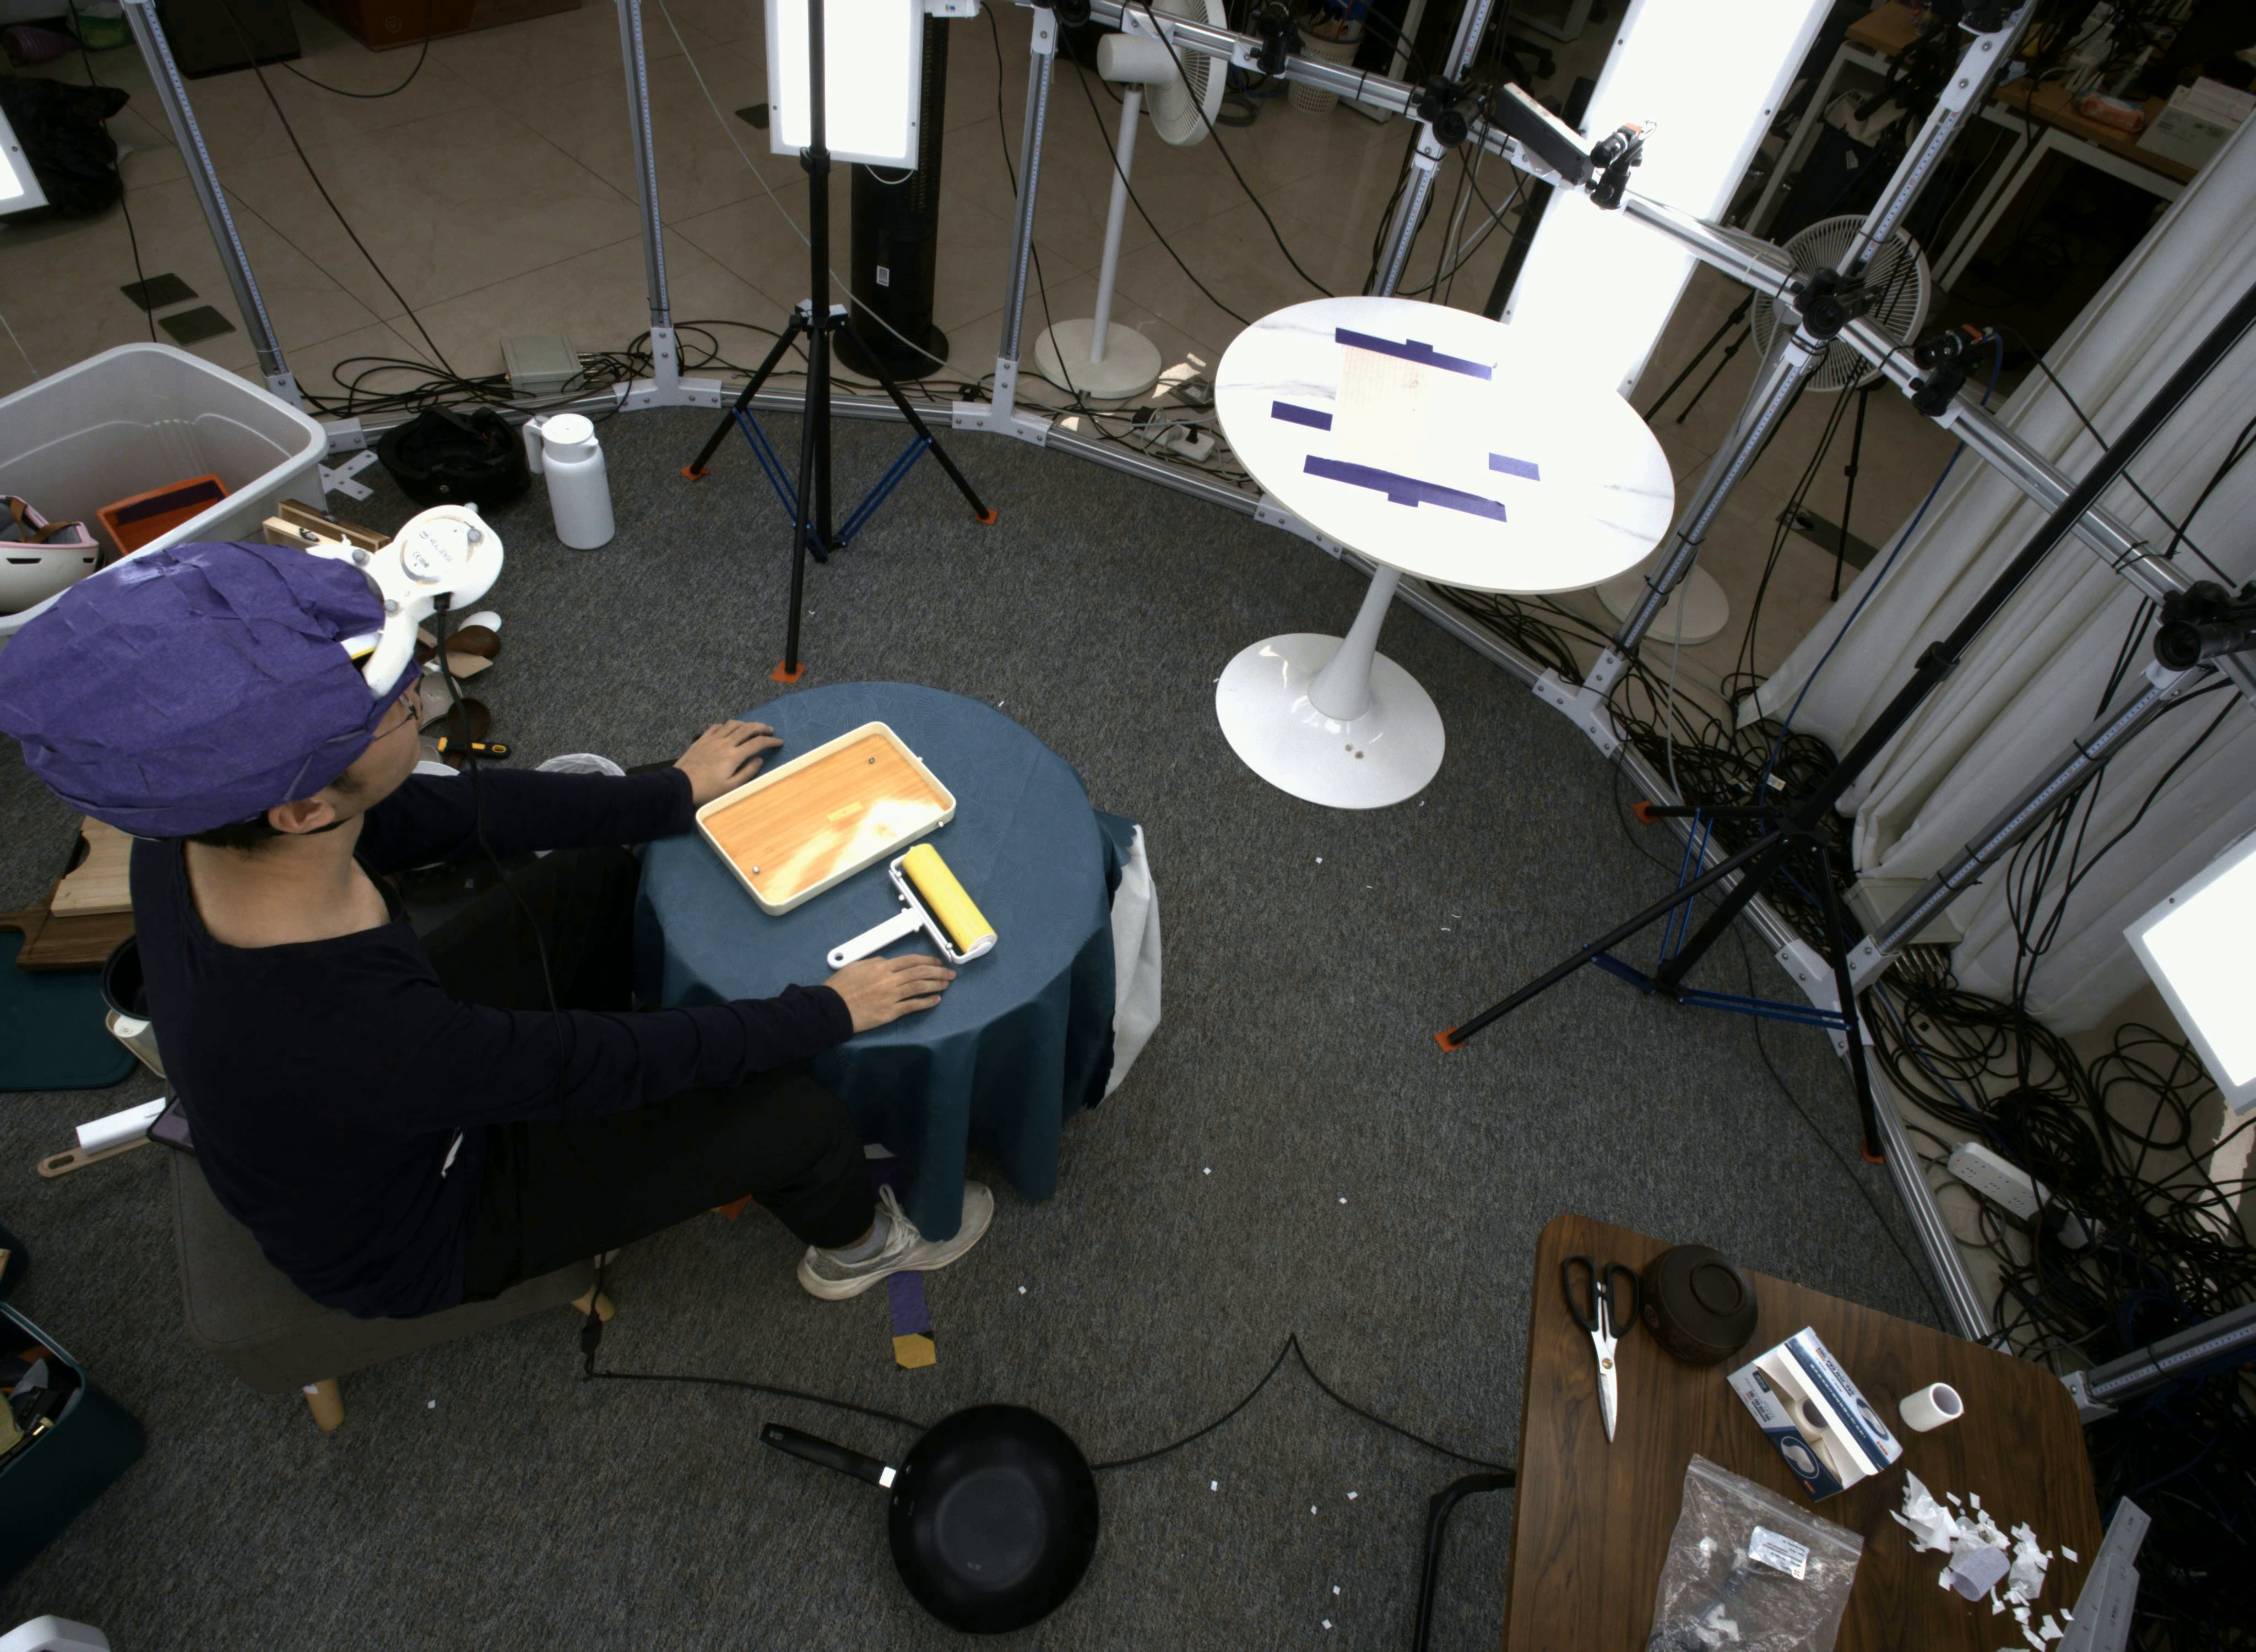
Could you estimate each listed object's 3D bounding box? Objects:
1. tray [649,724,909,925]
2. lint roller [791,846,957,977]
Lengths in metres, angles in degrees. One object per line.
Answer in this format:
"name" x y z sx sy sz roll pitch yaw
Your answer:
"tray" -0.459 -0.009 1.716 0.187 0.028 0.301 43 56 19
"lint roller" -0.338 0.125 1.632 0.193 0.052 0.170 -29 64 -34
